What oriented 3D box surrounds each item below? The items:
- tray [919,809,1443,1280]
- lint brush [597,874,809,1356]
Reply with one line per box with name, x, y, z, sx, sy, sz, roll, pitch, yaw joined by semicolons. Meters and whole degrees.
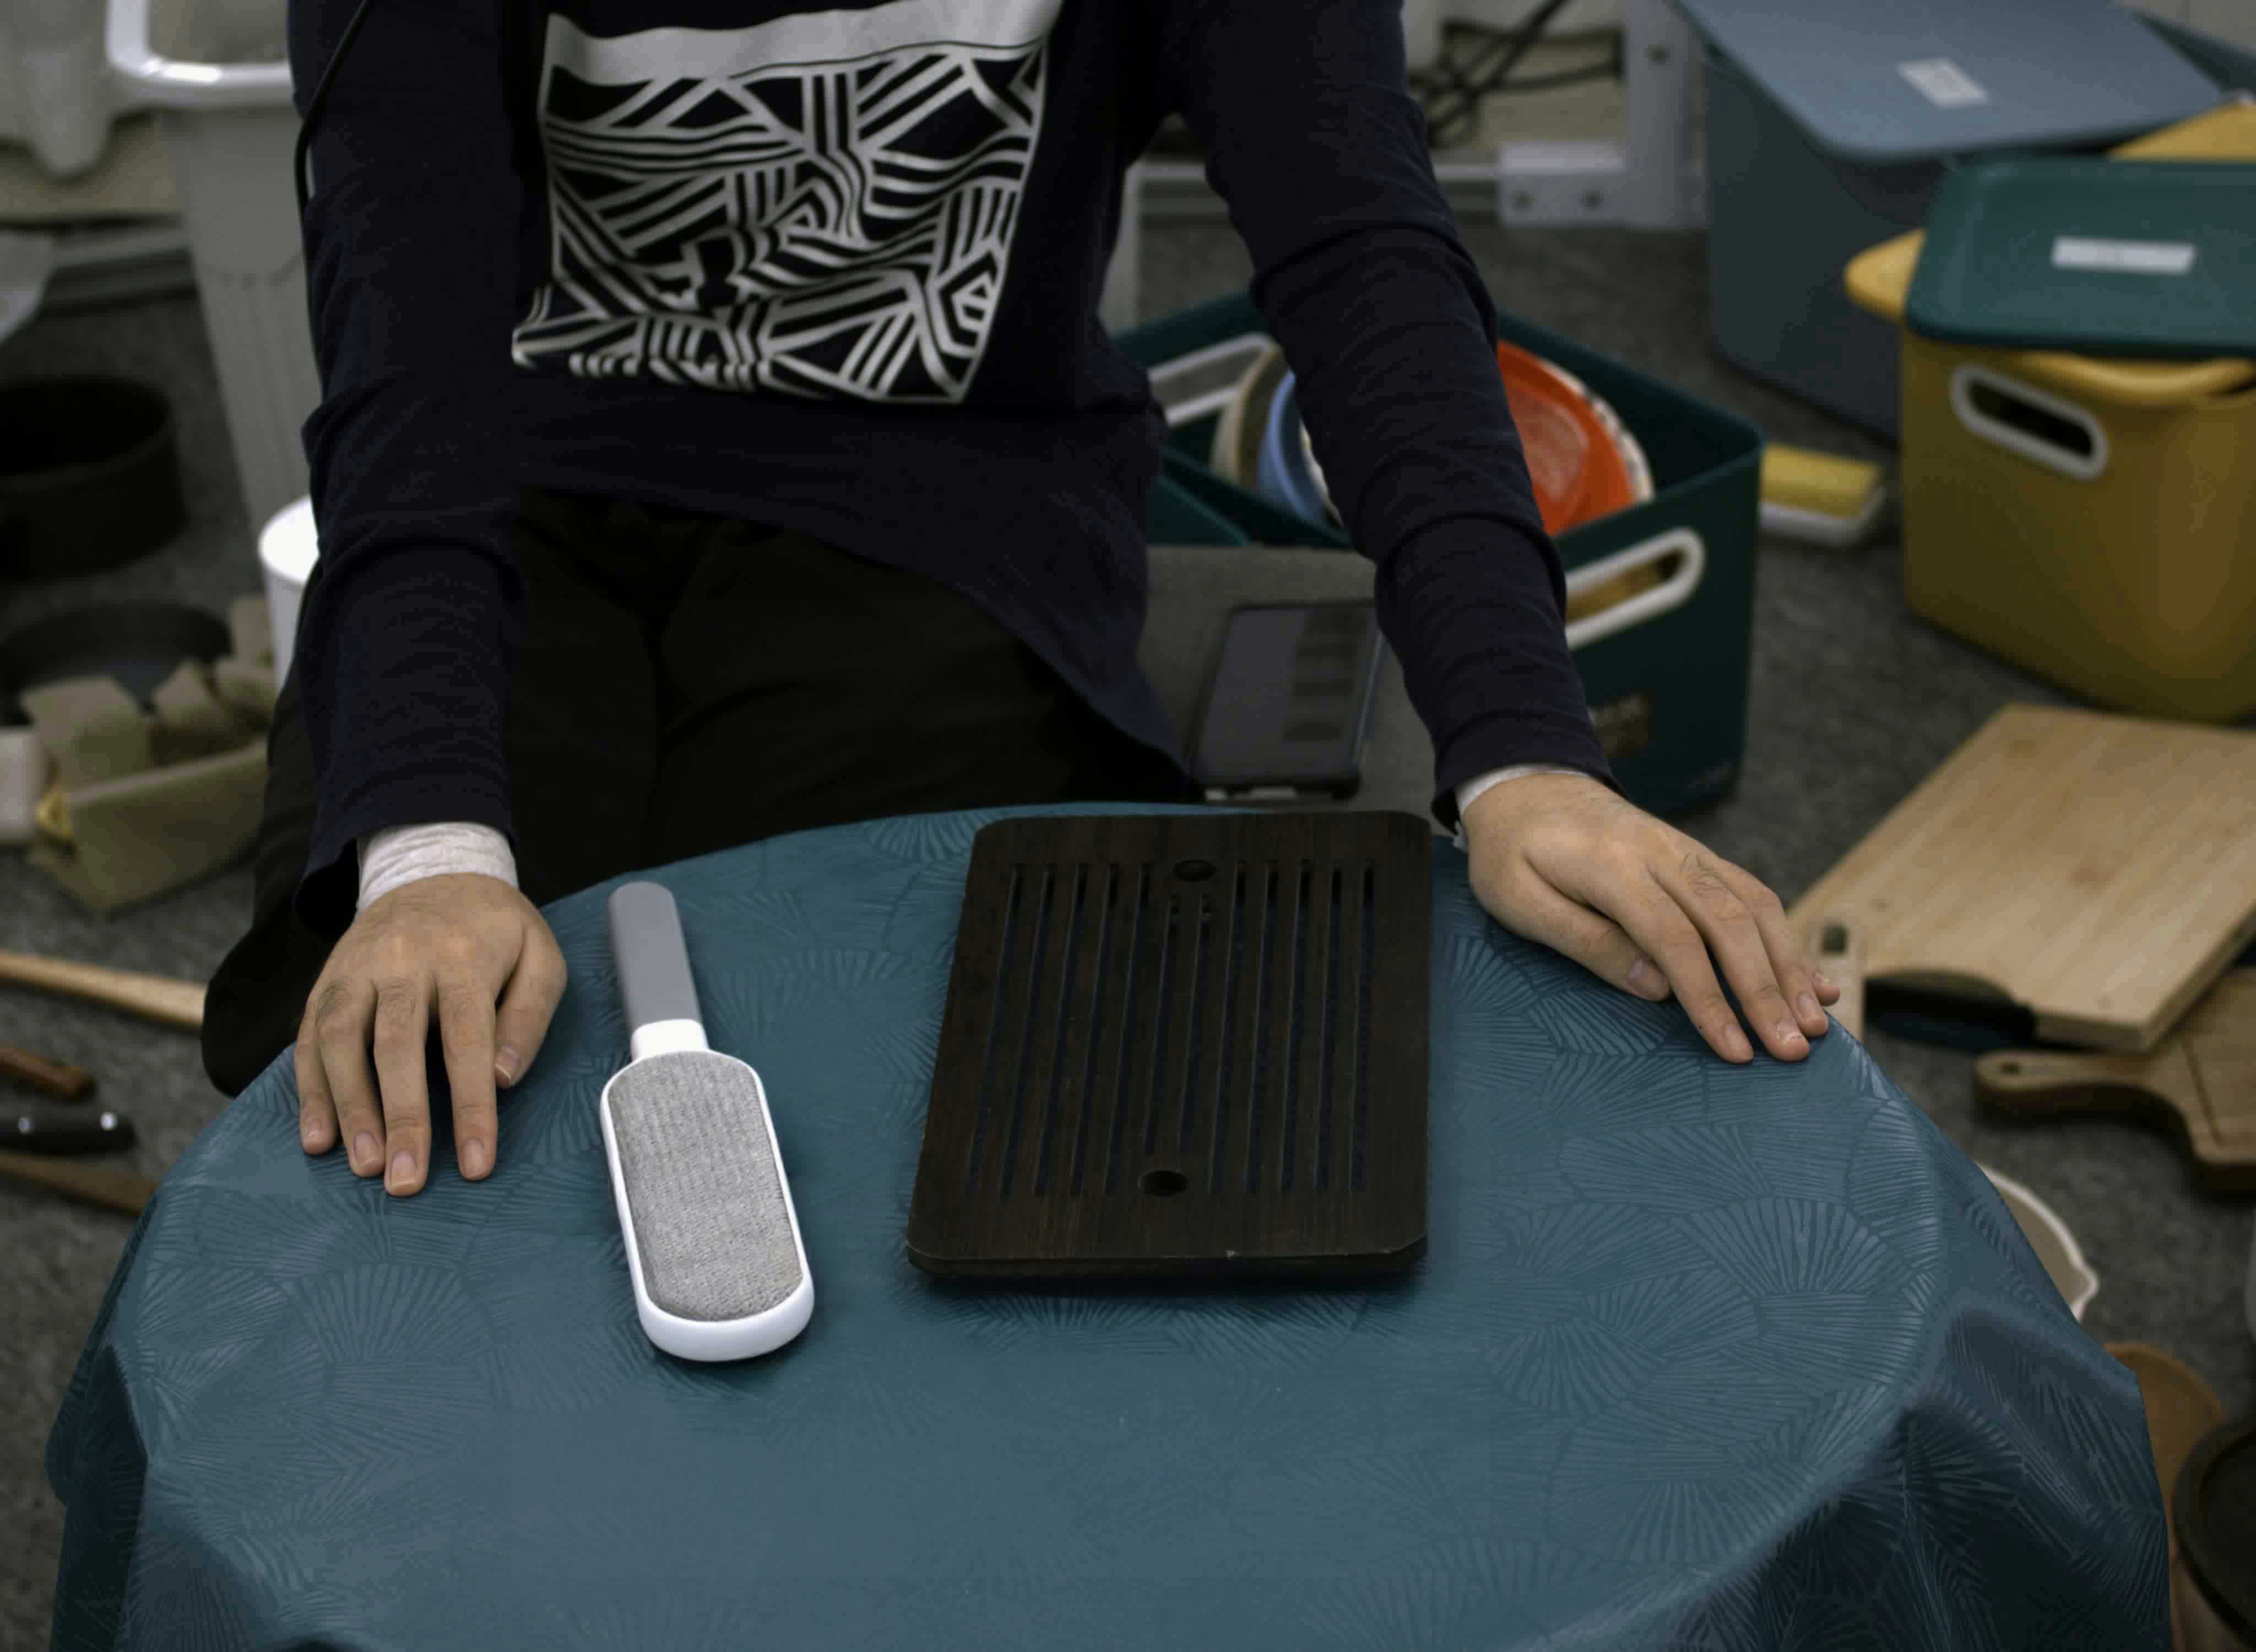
tray;0.023;0.073;1.935;0.169;0.018;0.311;-1;27;3
lint brush;-0.150;0.093;1.903;0.060;0.021;0.312;-11;28;-5
